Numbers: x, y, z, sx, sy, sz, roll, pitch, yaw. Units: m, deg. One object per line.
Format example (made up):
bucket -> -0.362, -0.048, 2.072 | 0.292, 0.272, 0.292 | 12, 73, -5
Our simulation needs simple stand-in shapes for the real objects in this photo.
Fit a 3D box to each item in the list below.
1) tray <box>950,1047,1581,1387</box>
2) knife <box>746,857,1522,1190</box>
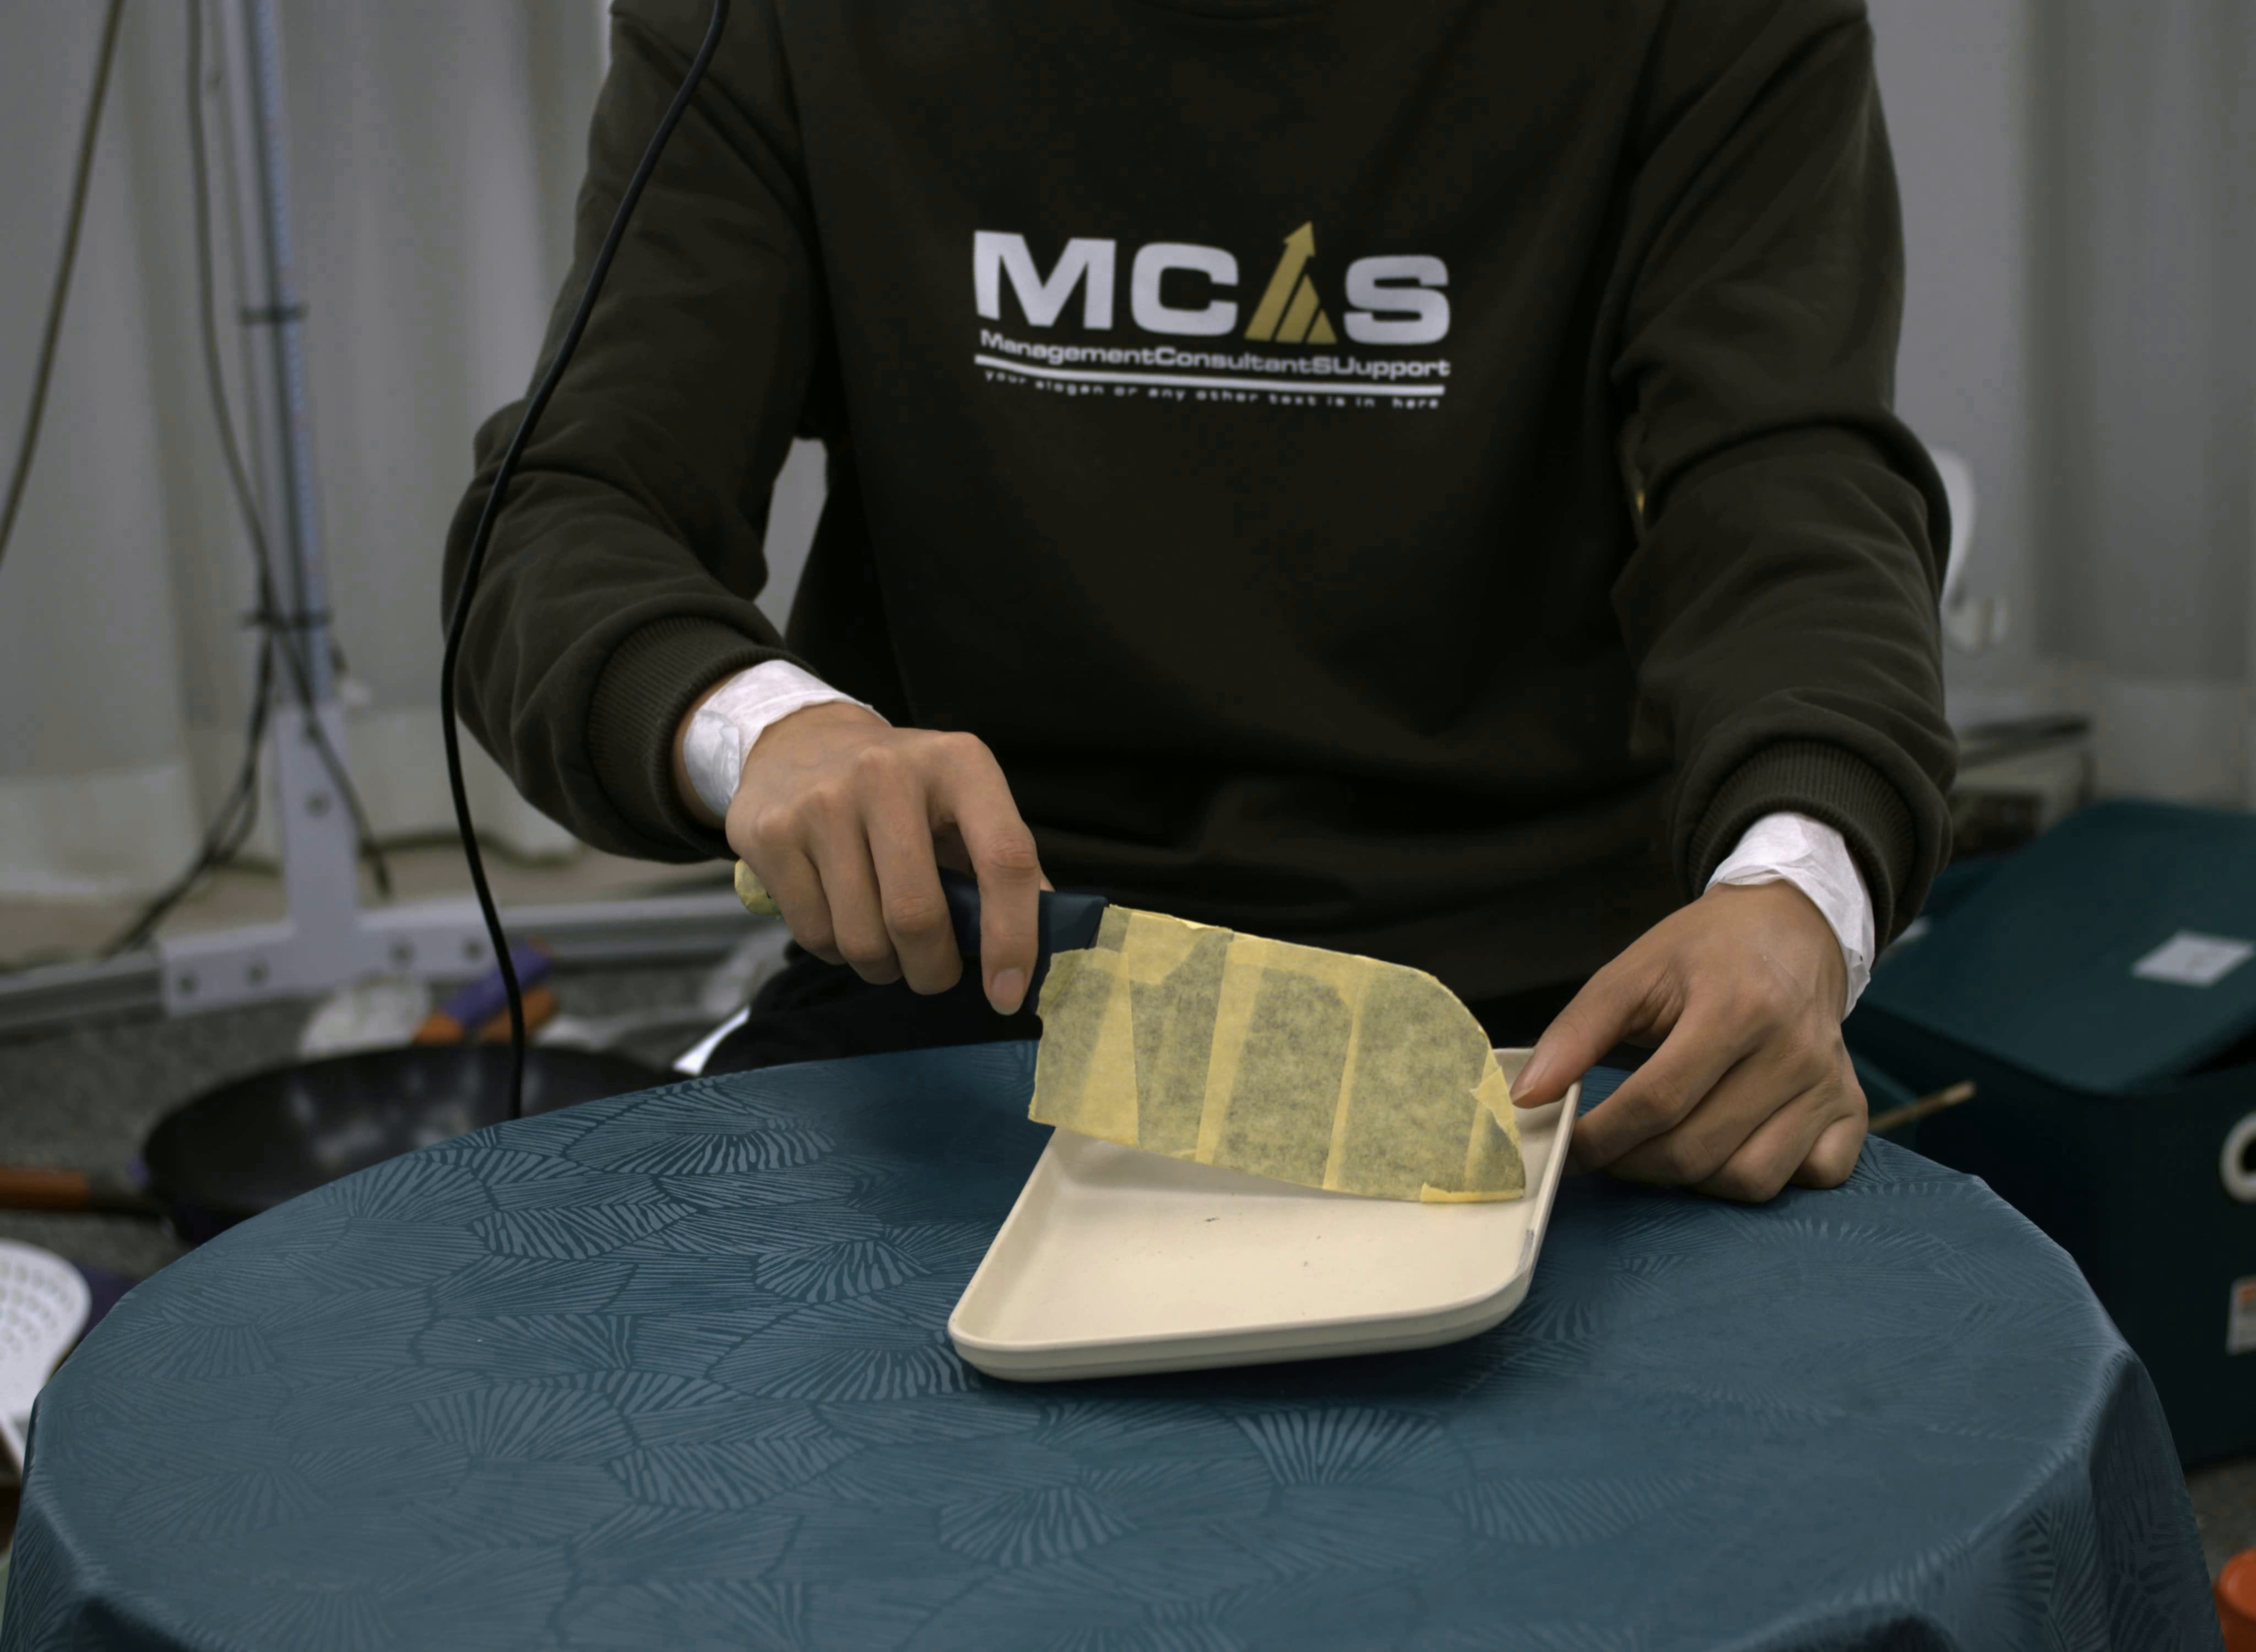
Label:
tray -> 0.046, 0.116, 1.639 | 0.171, 0.017, 0.241 | -7, 14, 12
knife -> -0.003, 0.059, 1.706 | 0.291, 0.081, 0.027 | 14, 0, 31
